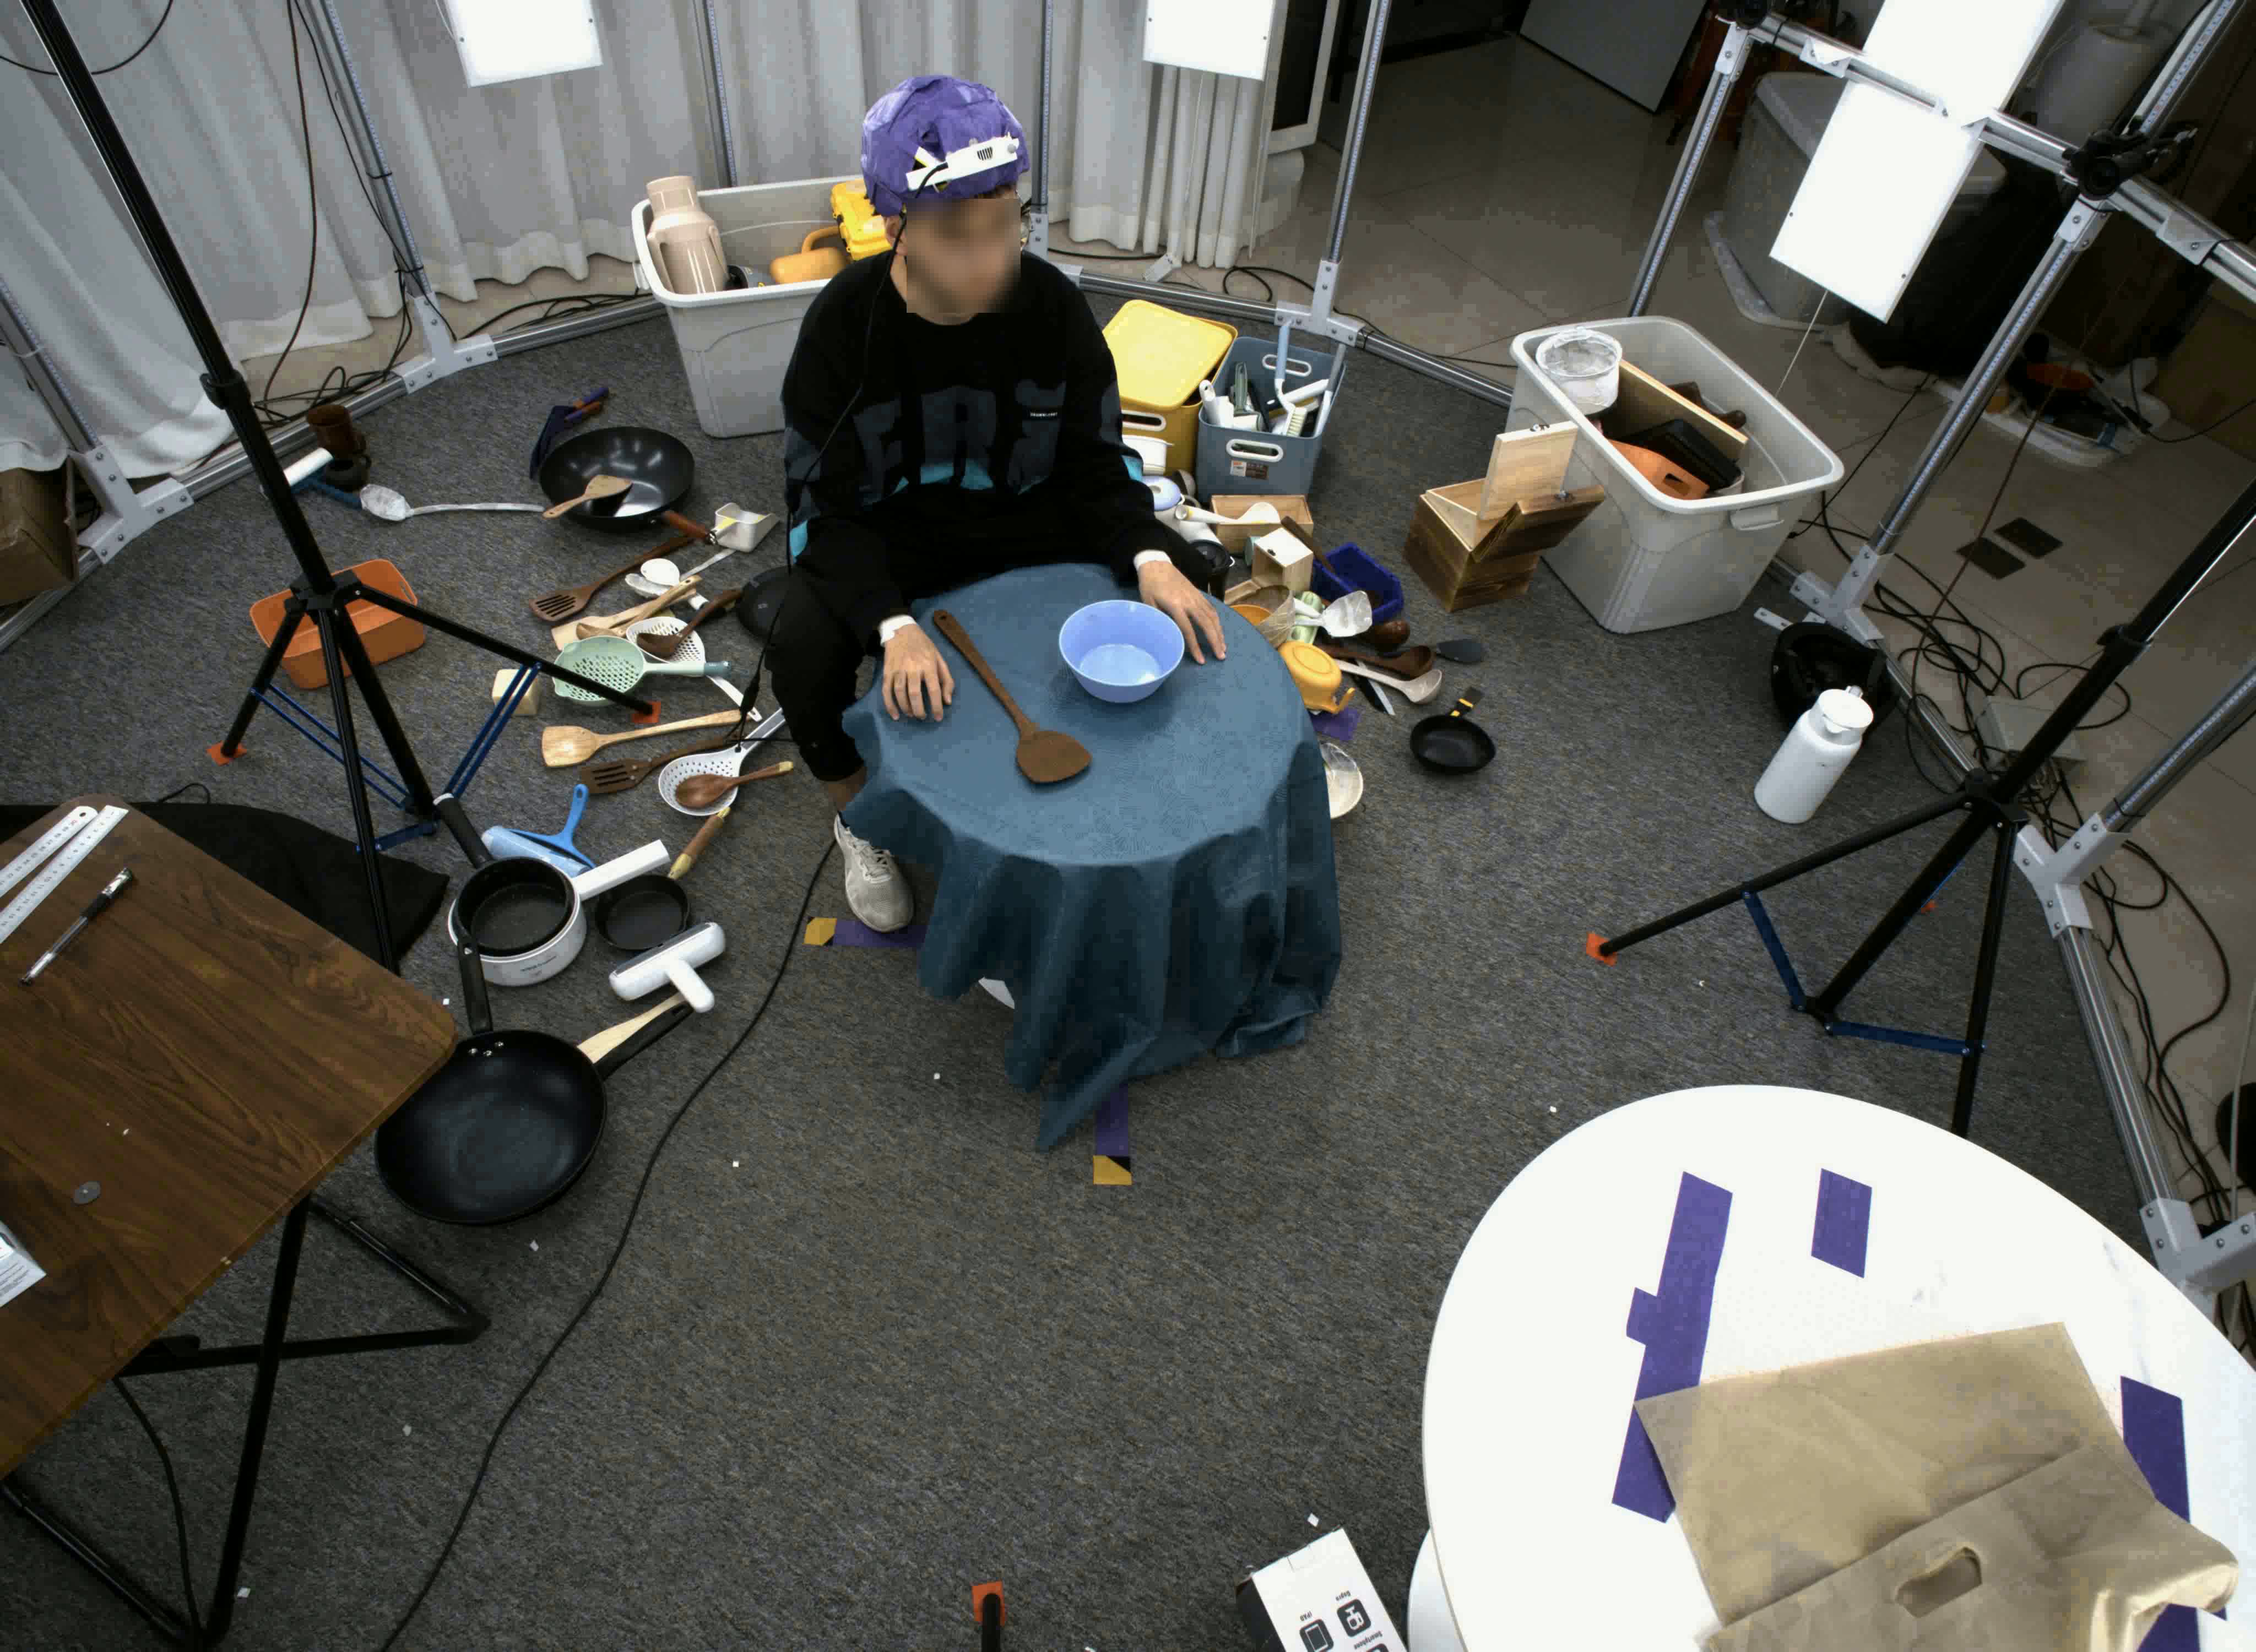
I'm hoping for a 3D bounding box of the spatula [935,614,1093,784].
[{"bbox_3d":[-0.181,-0.191,1.830,0.096,0.015,0.394,-23,54,-22],"label":"spatula"}]

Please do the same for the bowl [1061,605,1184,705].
[{"bbox_3d":[-0.009,-0.237,1.846,0.176,0.068,0.180,2,47,-2],"label":"bowl"}]
